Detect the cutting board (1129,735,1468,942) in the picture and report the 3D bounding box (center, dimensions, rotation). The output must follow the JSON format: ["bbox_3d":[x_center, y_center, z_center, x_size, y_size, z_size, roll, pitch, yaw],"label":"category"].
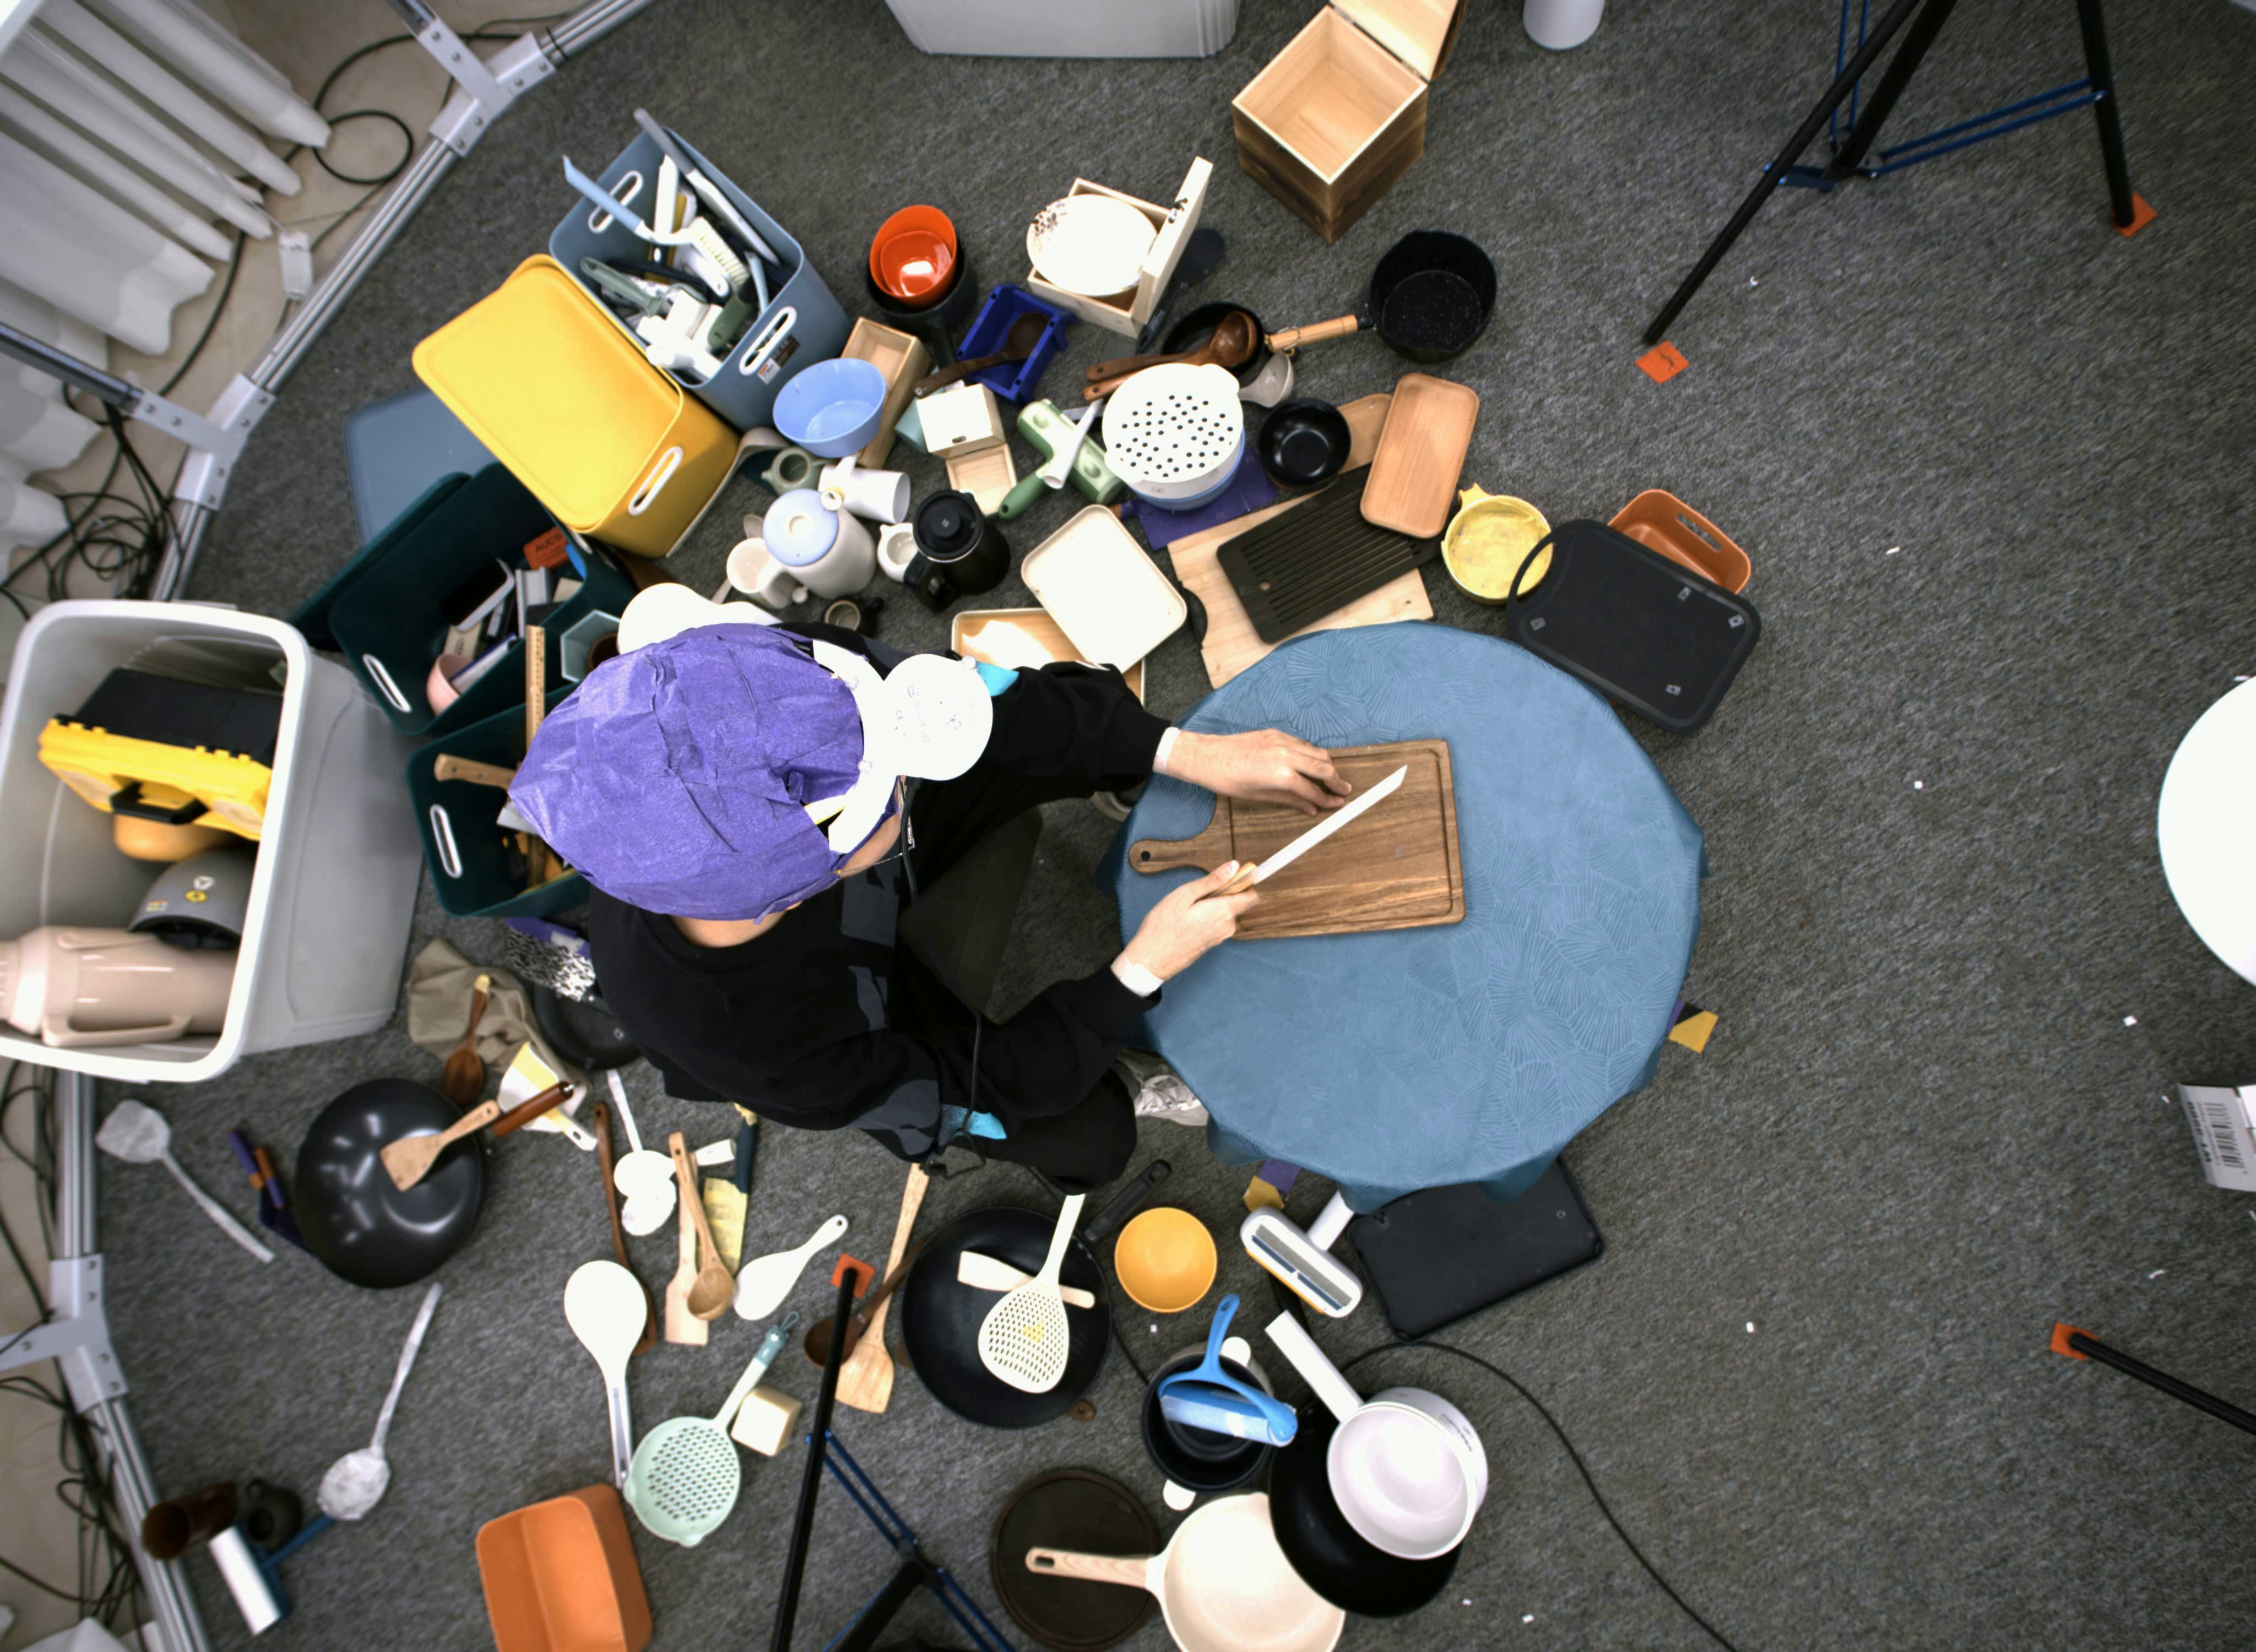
[{"bbox_3d":[0.174,0.018,1.474,0.354,0.023,0.200,-6,85,12],"label":"cutting board"}]

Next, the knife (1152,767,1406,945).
[{"bbox_3d":[0.156,0.032,1.406,0.306,0.093,0.021,-34,78,1],"label":"knife"}]
